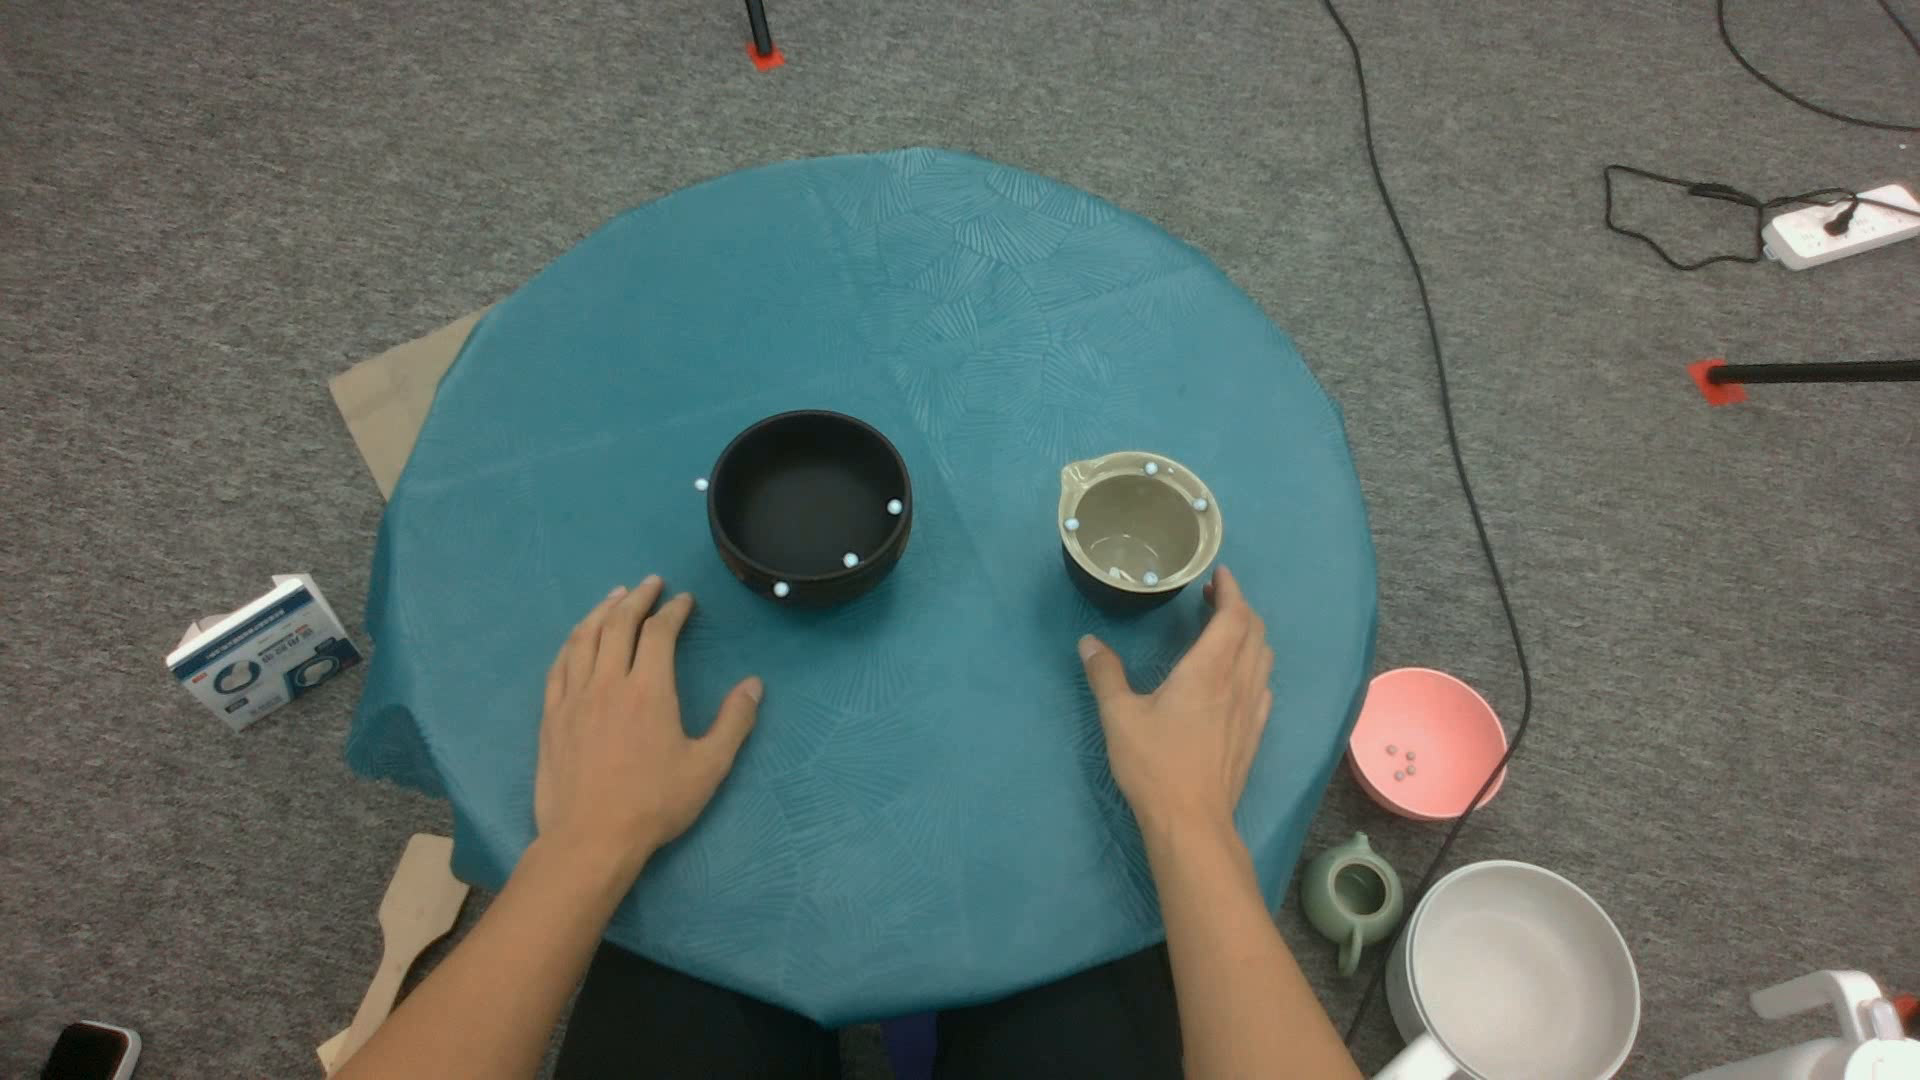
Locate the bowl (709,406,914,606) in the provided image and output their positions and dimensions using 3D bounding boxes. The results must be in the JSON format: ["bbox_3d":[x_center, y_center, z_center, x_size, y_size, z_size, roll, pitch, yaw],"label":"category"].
[{"bbox_3d":[-0.087,-0.013,0.815,0.118,0.069,0.118,2,59,-3],"label":"bowl"}]

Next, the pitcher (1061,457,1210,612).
[{"bbox_3d":[0.097,0.000,0.816,0.084,0.071,0.096,-40,71,-20],"label":"pitcher"}]
